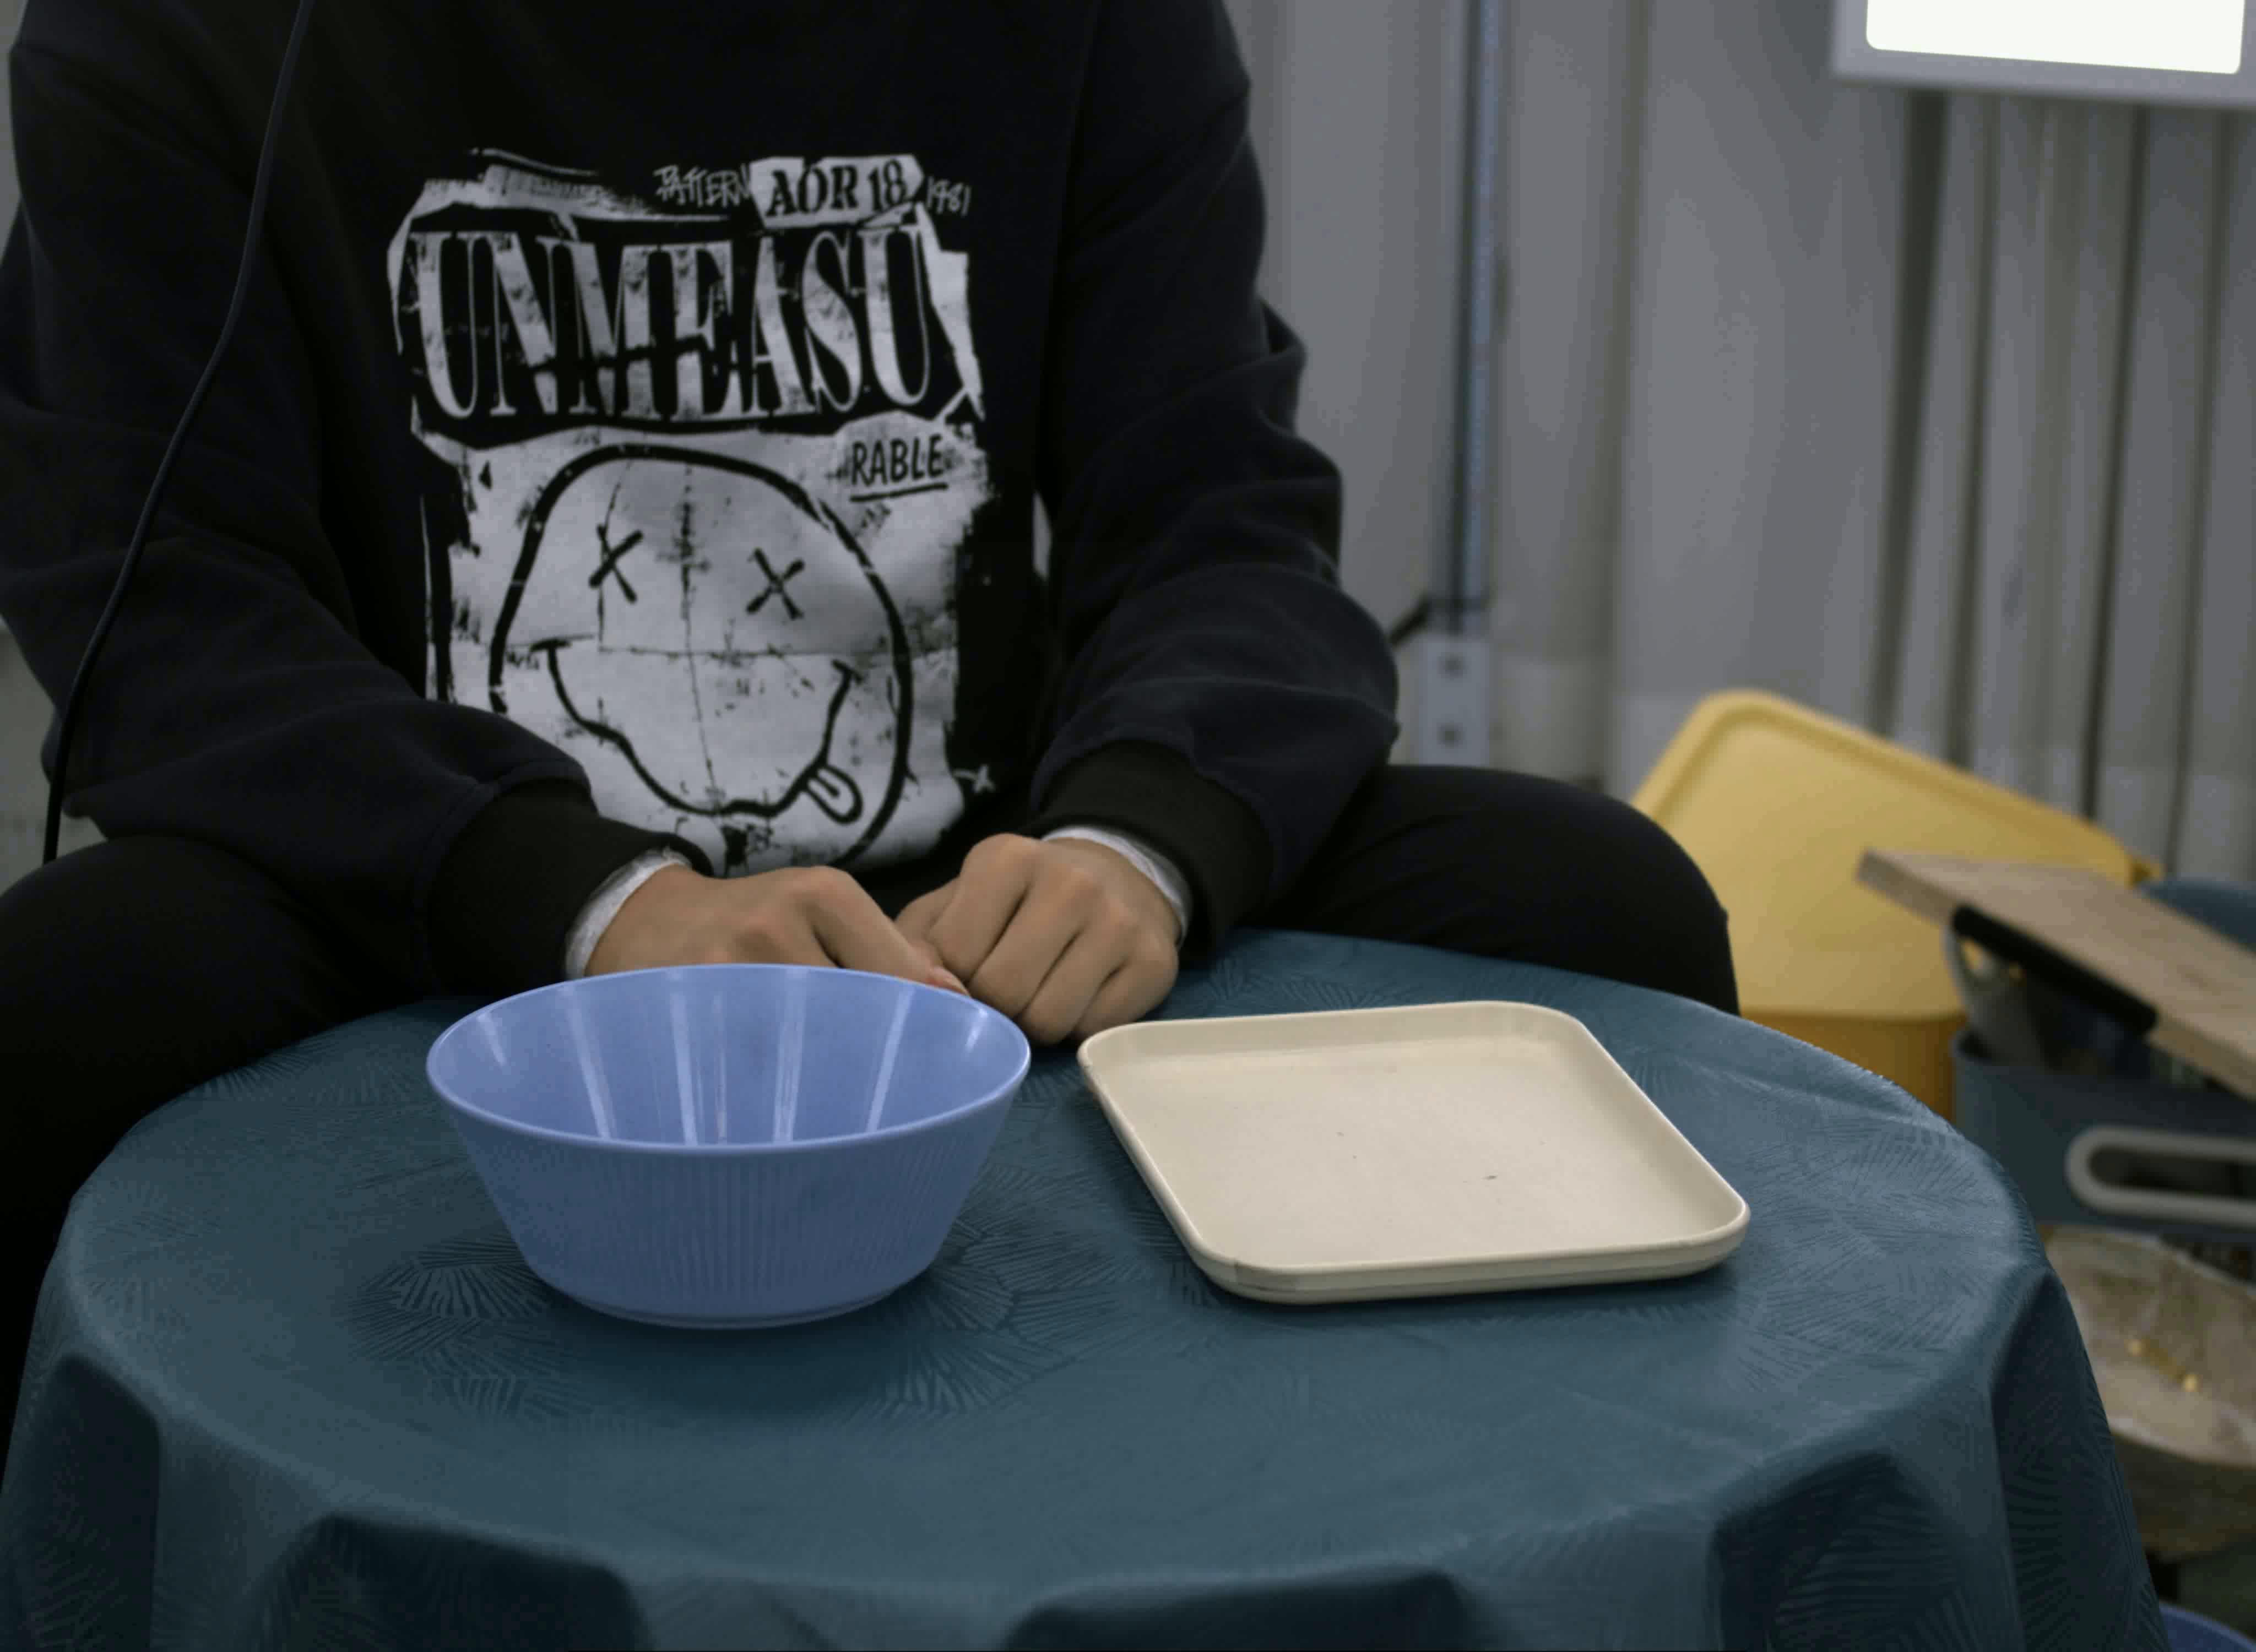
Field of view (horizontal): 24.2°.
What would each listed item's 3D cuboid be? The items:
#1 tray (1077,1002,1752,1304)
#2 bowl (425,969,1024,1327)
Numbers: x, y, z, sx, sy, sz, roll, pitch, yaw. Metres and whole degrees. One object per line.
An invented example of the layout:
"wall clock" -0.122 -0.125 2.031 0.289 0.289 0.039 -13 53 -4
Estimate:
"tray" 0.084 0.101 1.640 0.171 0.017 0.237 -2 16 -12
"bowl" -0.118 0.097 1.547 0.175 0.071 0.175 1 15 0
